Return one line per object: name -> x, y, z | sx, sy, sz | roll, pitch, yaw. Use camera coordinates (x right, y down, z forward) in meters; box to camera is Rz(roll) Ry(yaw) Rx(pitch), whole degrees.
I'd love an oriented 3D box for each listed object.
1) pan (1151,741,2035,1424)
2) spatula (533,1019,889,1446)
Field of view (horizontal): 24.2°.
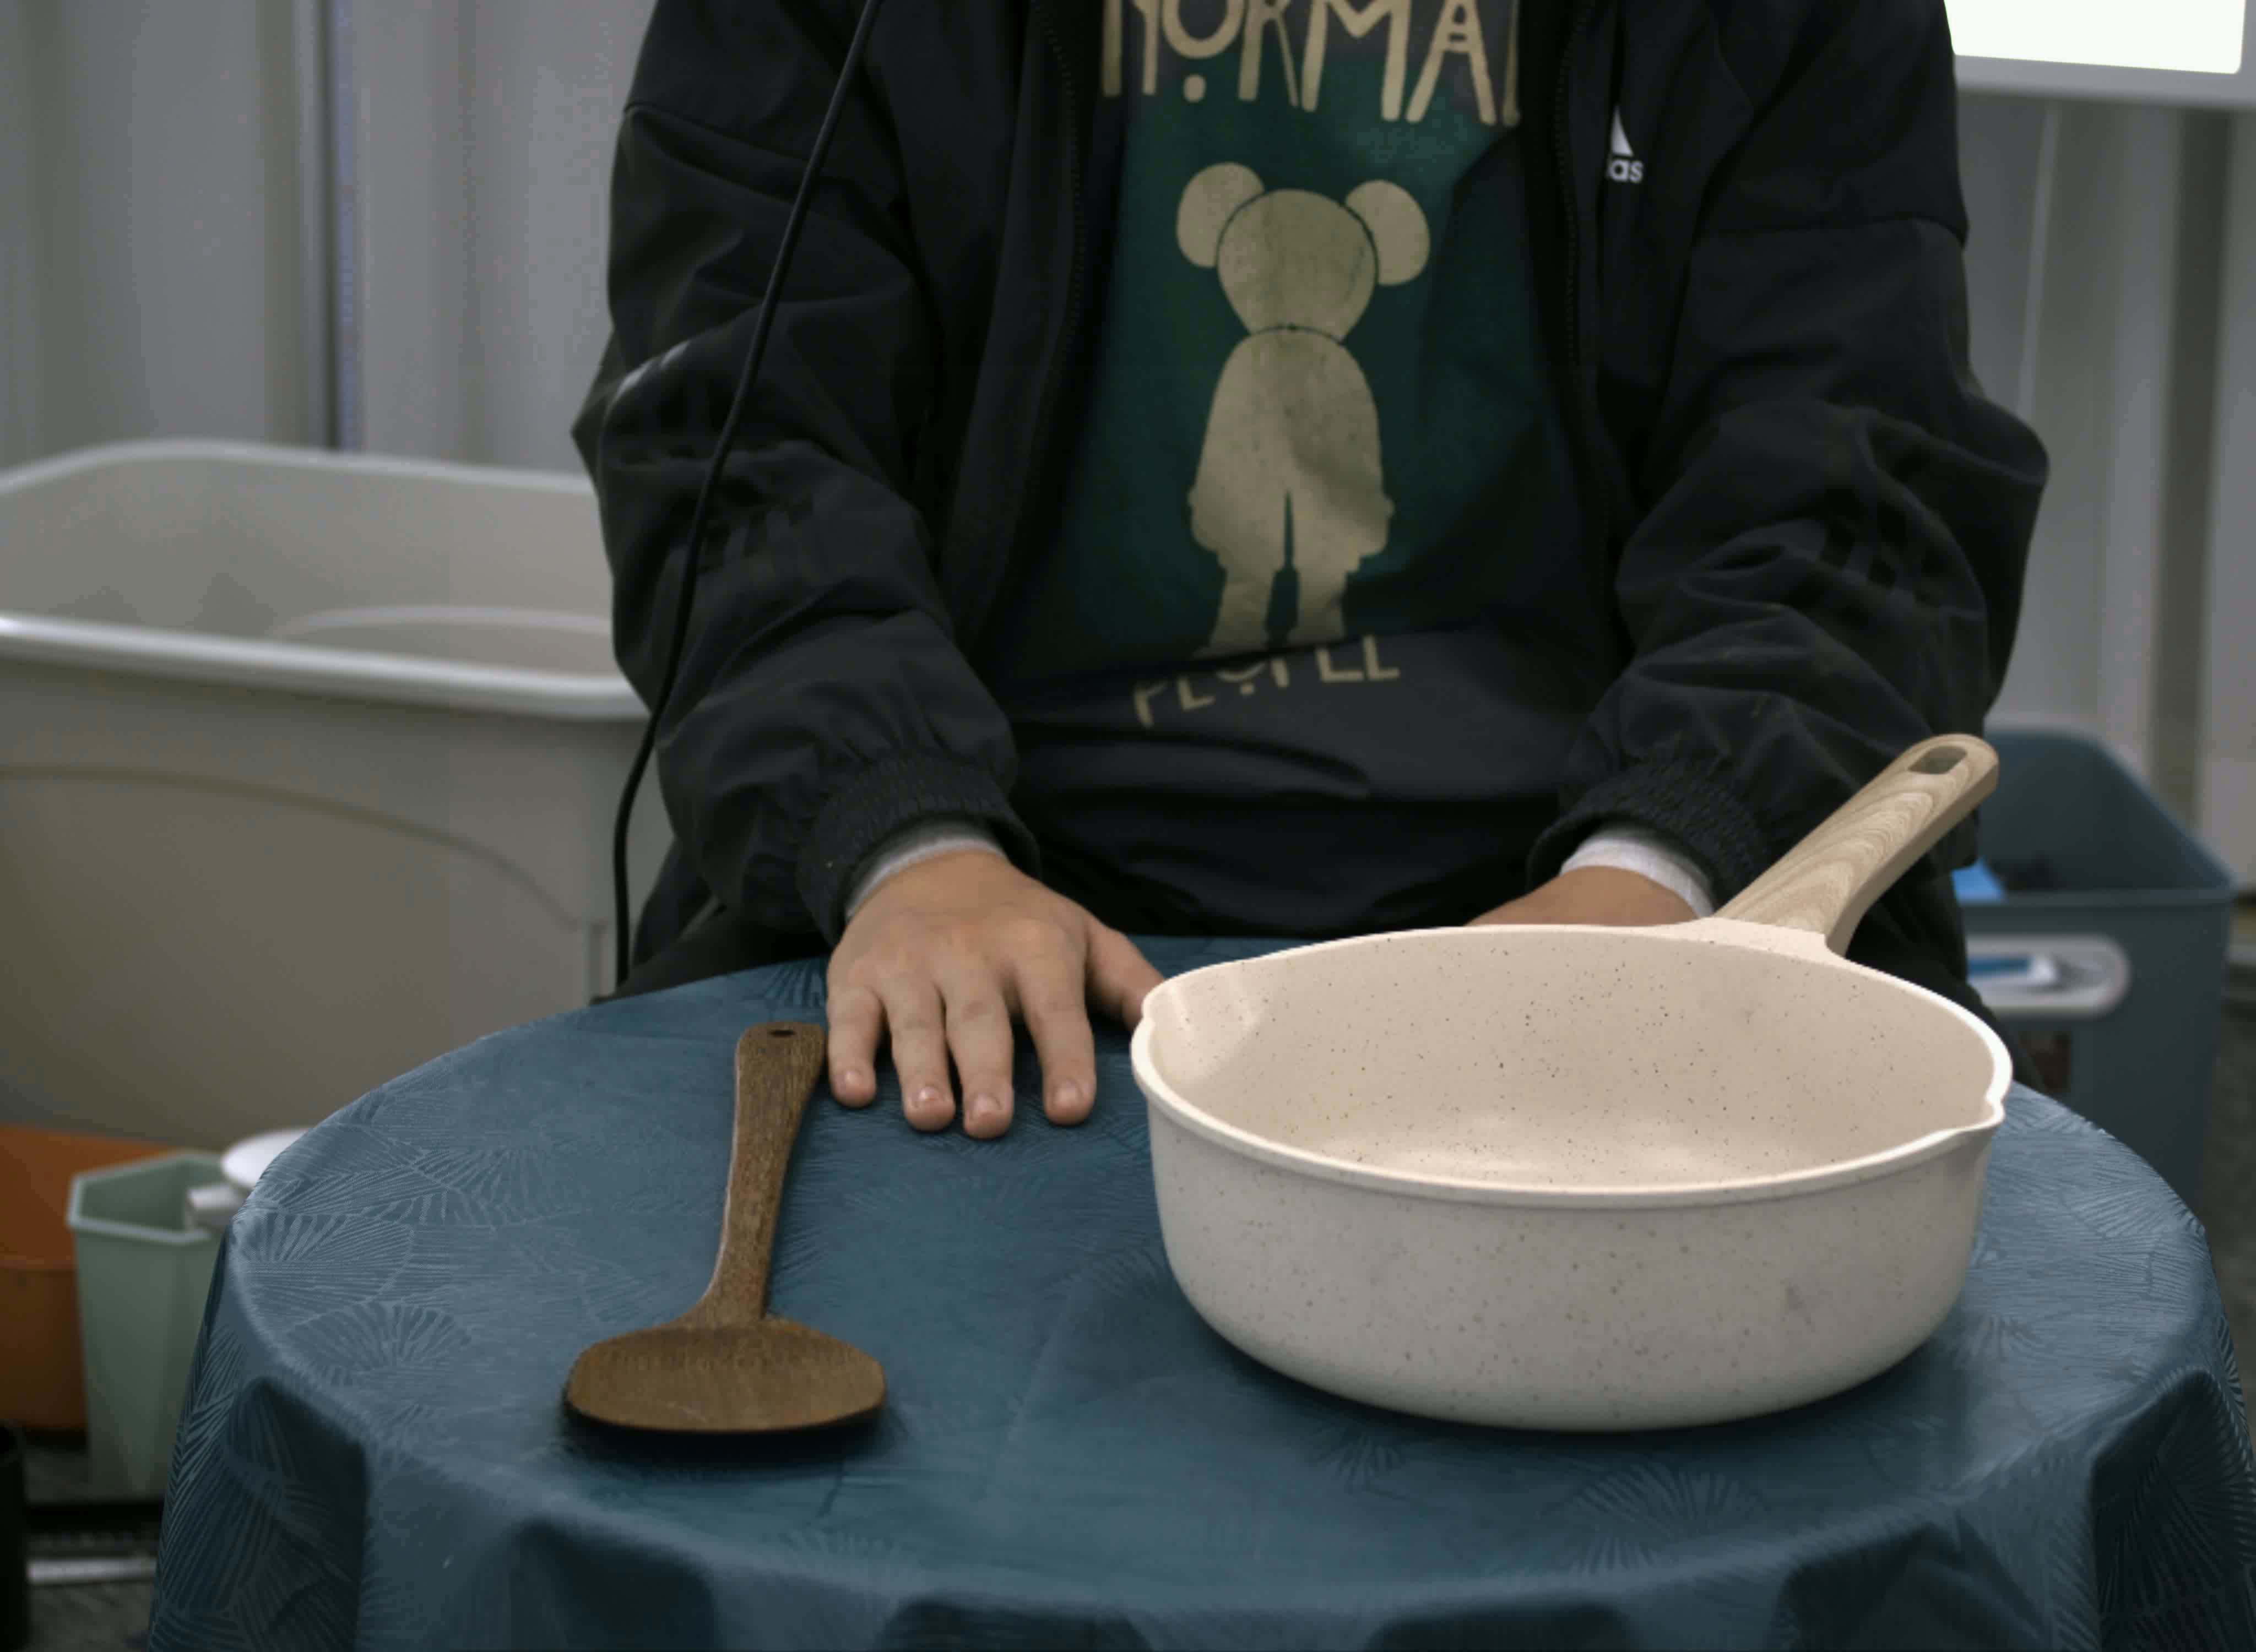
pan -> 0.176, 0.071, 1.586 | 0.260, 0.103, 0.436 | 7, 17, 28
spatula -> -0.114, 0.115, 1.583 | 0.096, 0.016, 0.384 | 1, 15, -1
